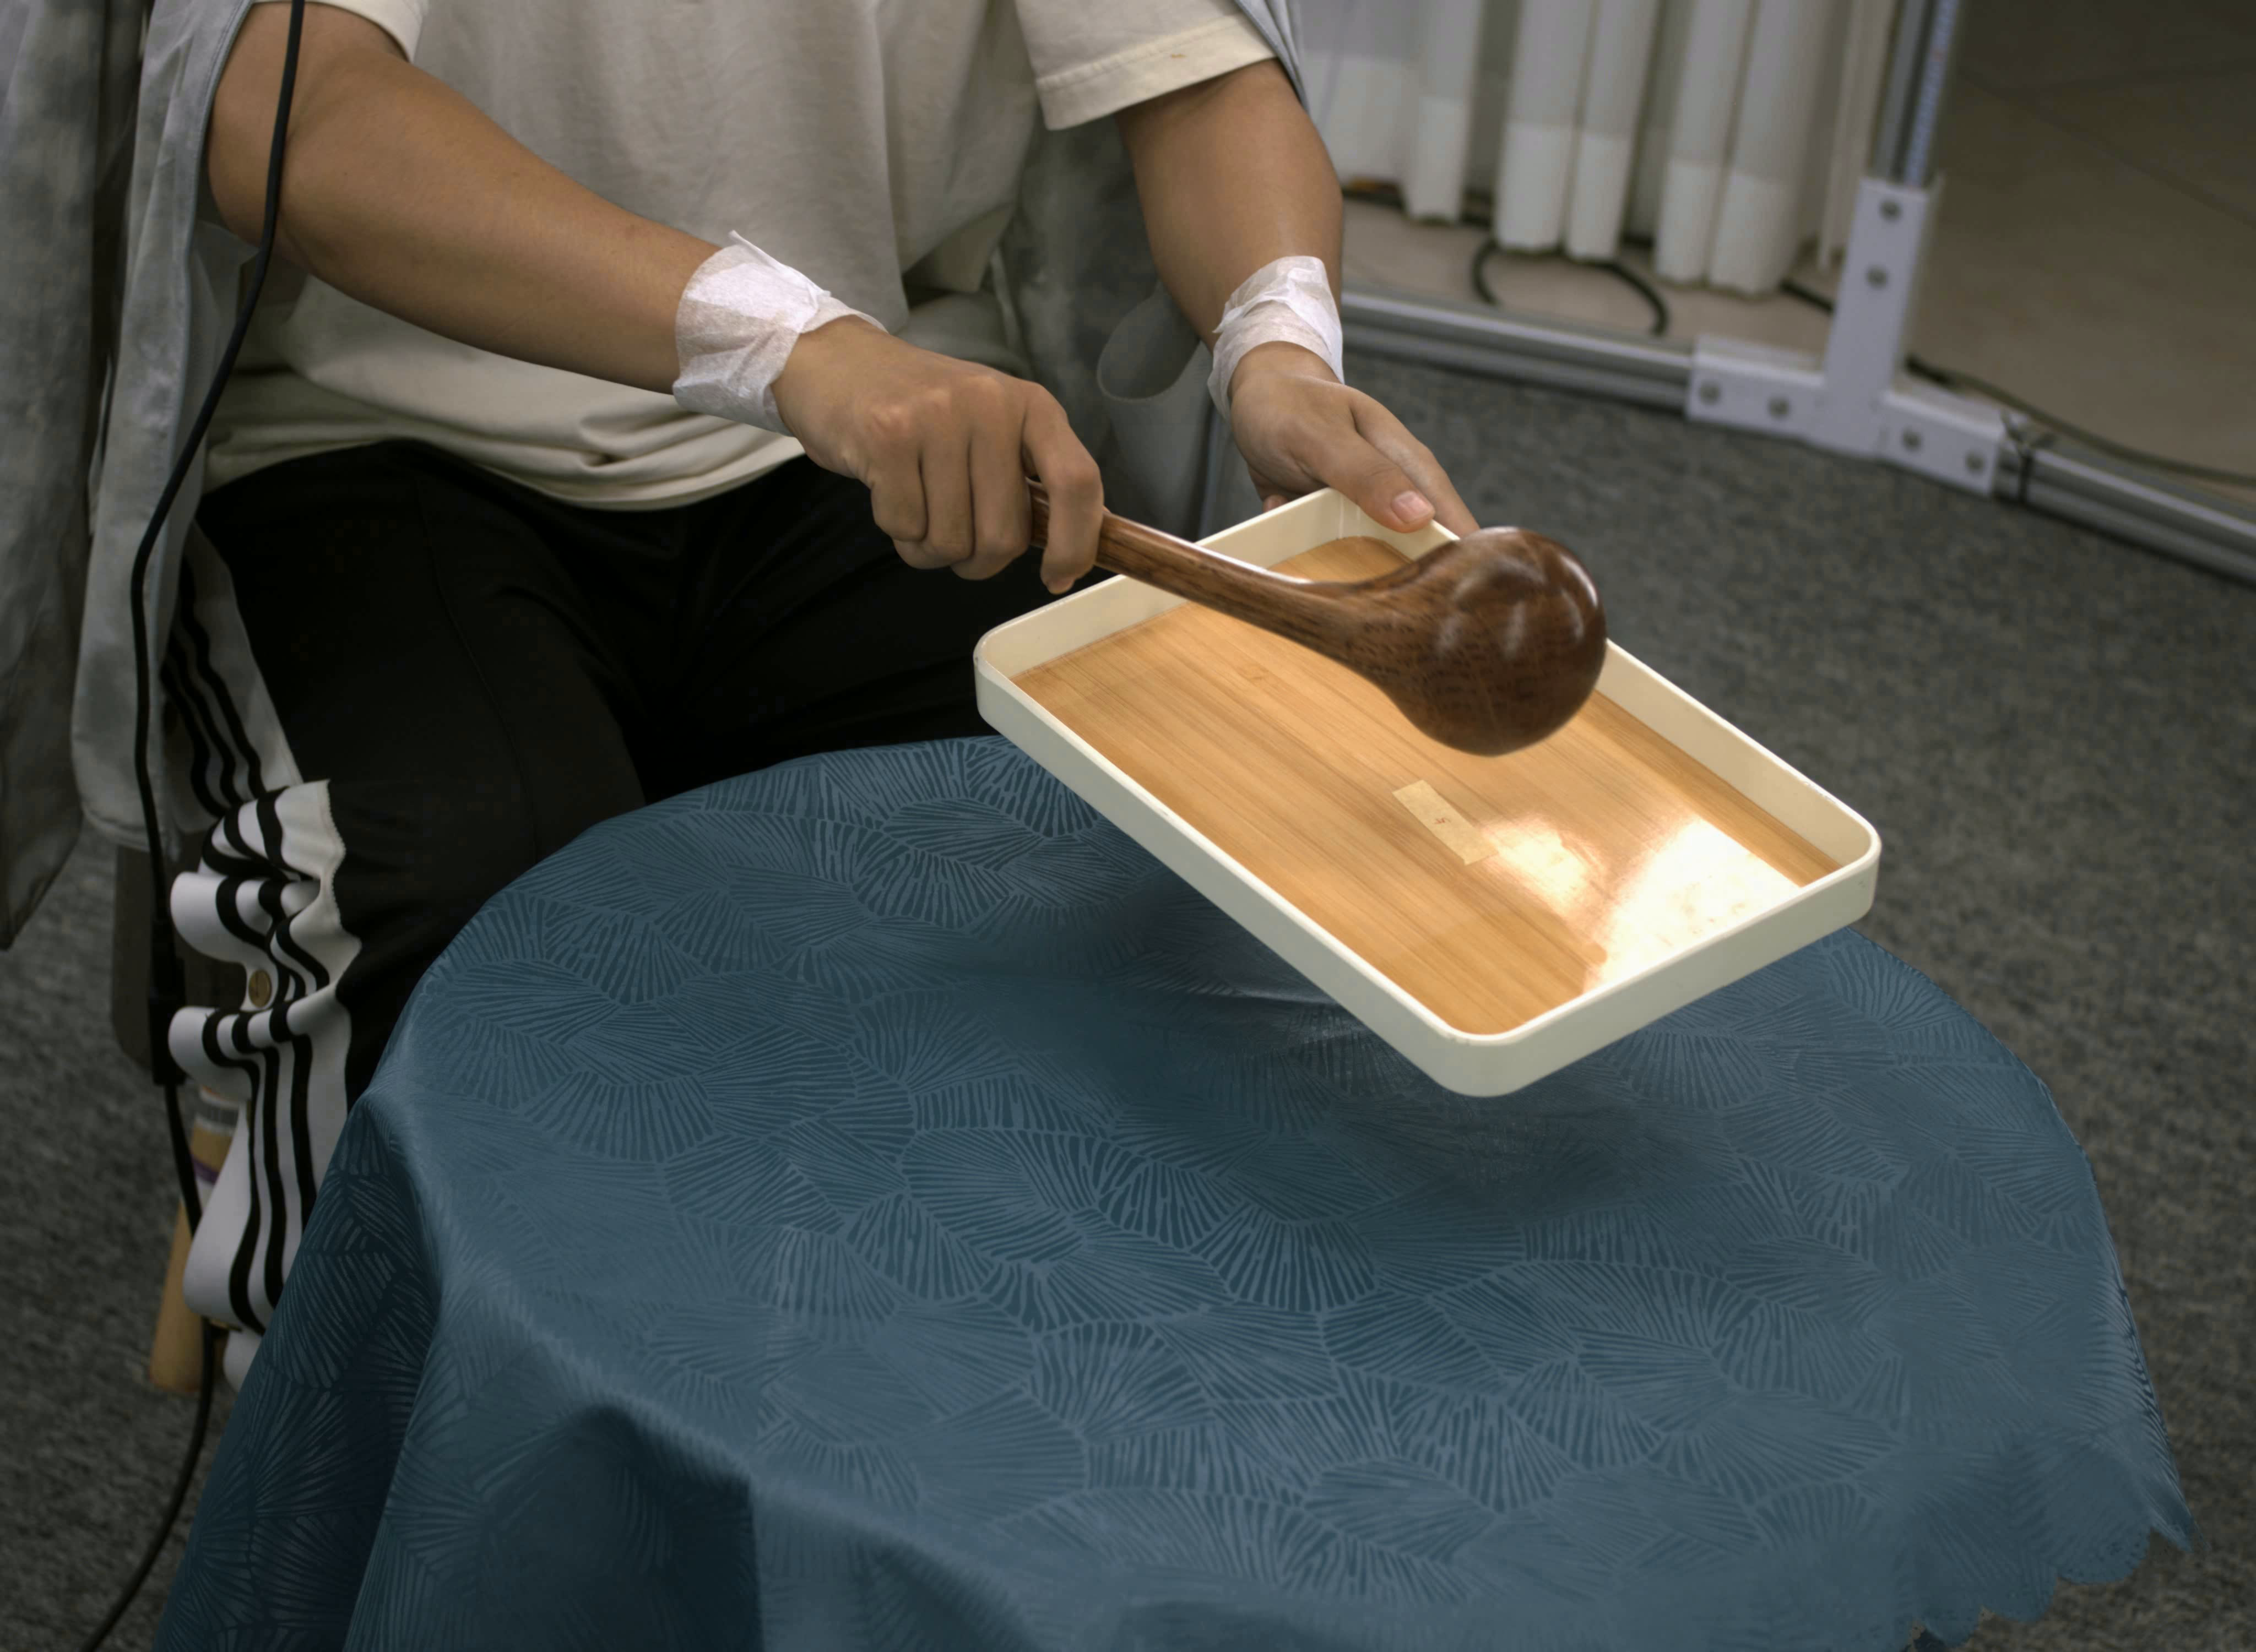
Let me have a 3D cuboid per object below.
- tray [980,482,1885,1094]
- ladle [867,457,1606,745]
[{"bbox_3d":[0.103,-0.020,1.882,0.191,0.027,0.303,-24,42,-27],"label":"tray"},{"bbox_3d":[0.039,-0.095,1.874,0.275,0.082,0.076,18,16,31],"label":"ladle"}]
